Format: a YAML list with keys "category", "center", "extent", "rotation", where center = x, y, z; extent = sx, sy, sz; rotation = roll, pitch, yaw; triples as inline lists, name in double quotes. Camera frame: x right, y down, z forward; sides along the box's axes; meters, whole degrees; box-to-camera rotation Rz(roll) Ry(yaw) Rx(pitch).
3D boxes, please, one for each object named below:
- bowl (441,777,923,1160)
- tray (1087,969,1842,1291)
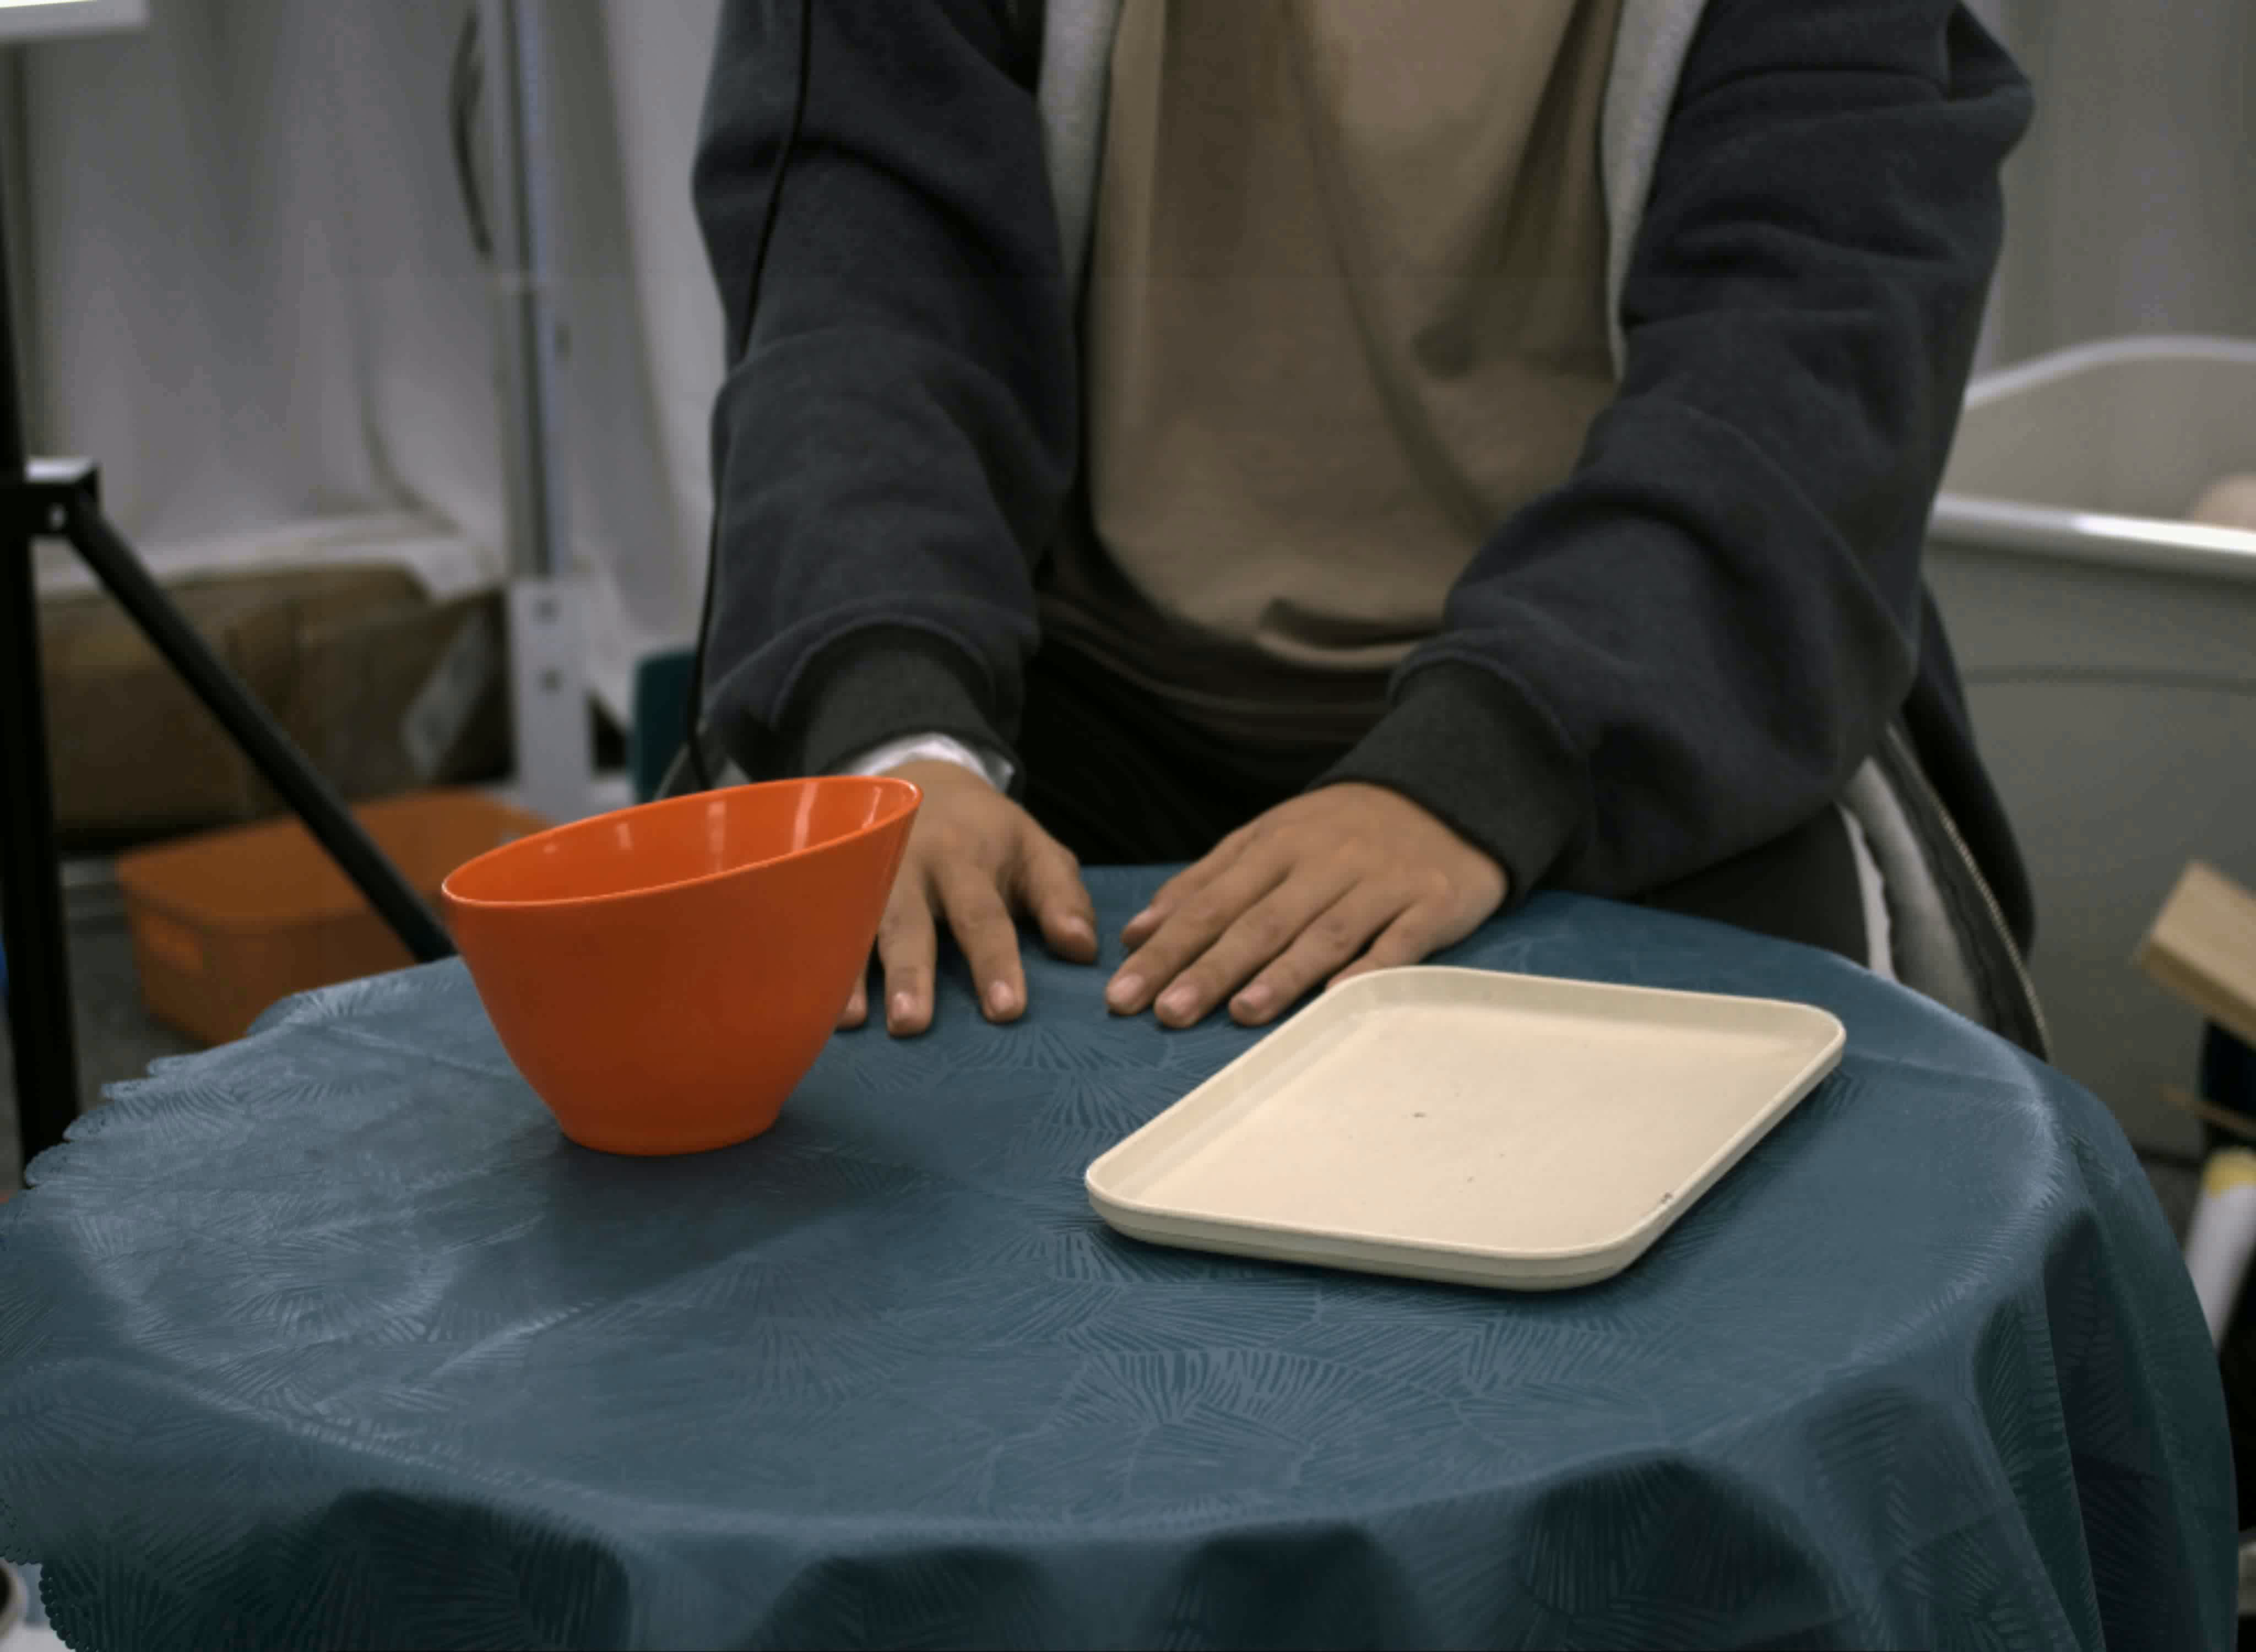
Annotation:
- category: "bowl"
  center: [-0.134, 0.044, 1.624]
  extent: [0.147, 0.104, 0.149]
  rotation: [-3, 16, -1]
- category: "tray"
  center: [0.104, 0.089, 1.577]
  extent: [0.174, 0.017, 0.236]
  rotation: [4, 17, 26]
